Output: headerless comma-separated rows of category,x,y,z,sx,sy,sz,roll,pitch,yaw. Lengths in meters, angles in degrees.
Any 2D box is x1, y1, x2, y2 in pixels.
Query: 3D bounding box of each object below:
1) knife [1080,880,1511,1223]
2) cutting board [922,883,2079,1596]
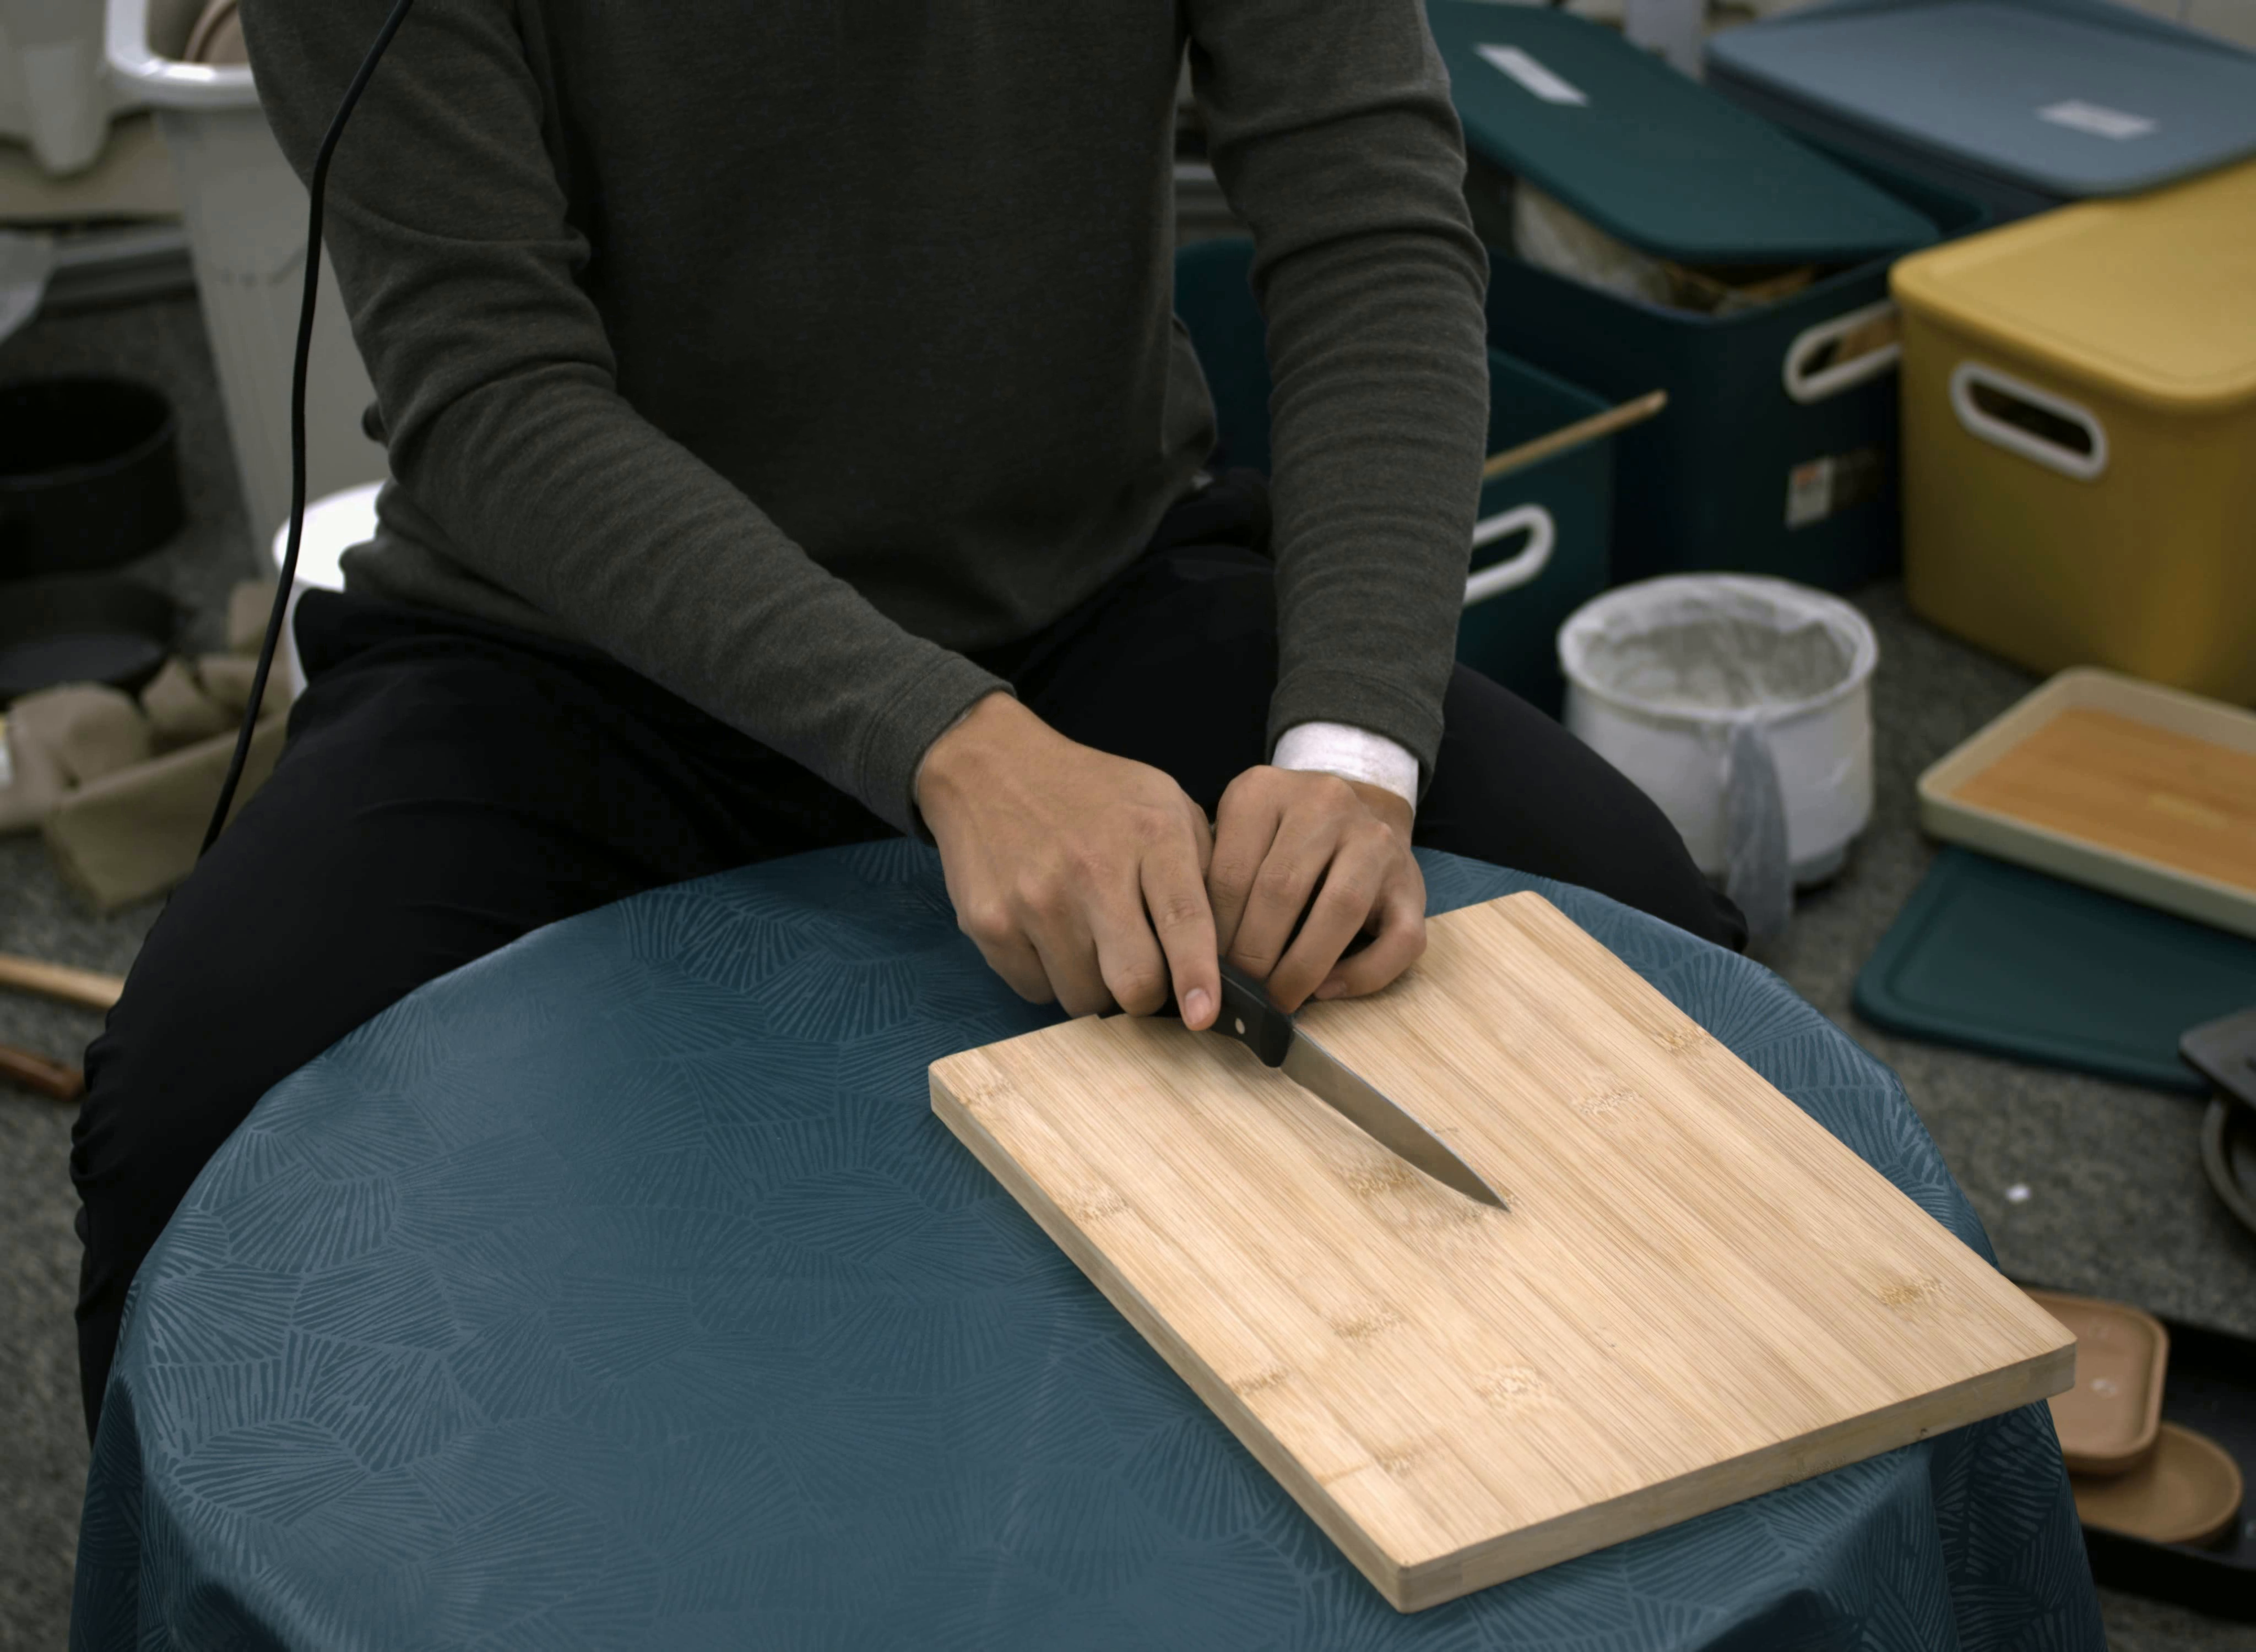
knife,0.054,0.073,1.875,0.016,0.024,0.239,-18,35,-30
cutting board,0.111,0.125,1.827,0.252,0.023,0.350,-15,30,-23
